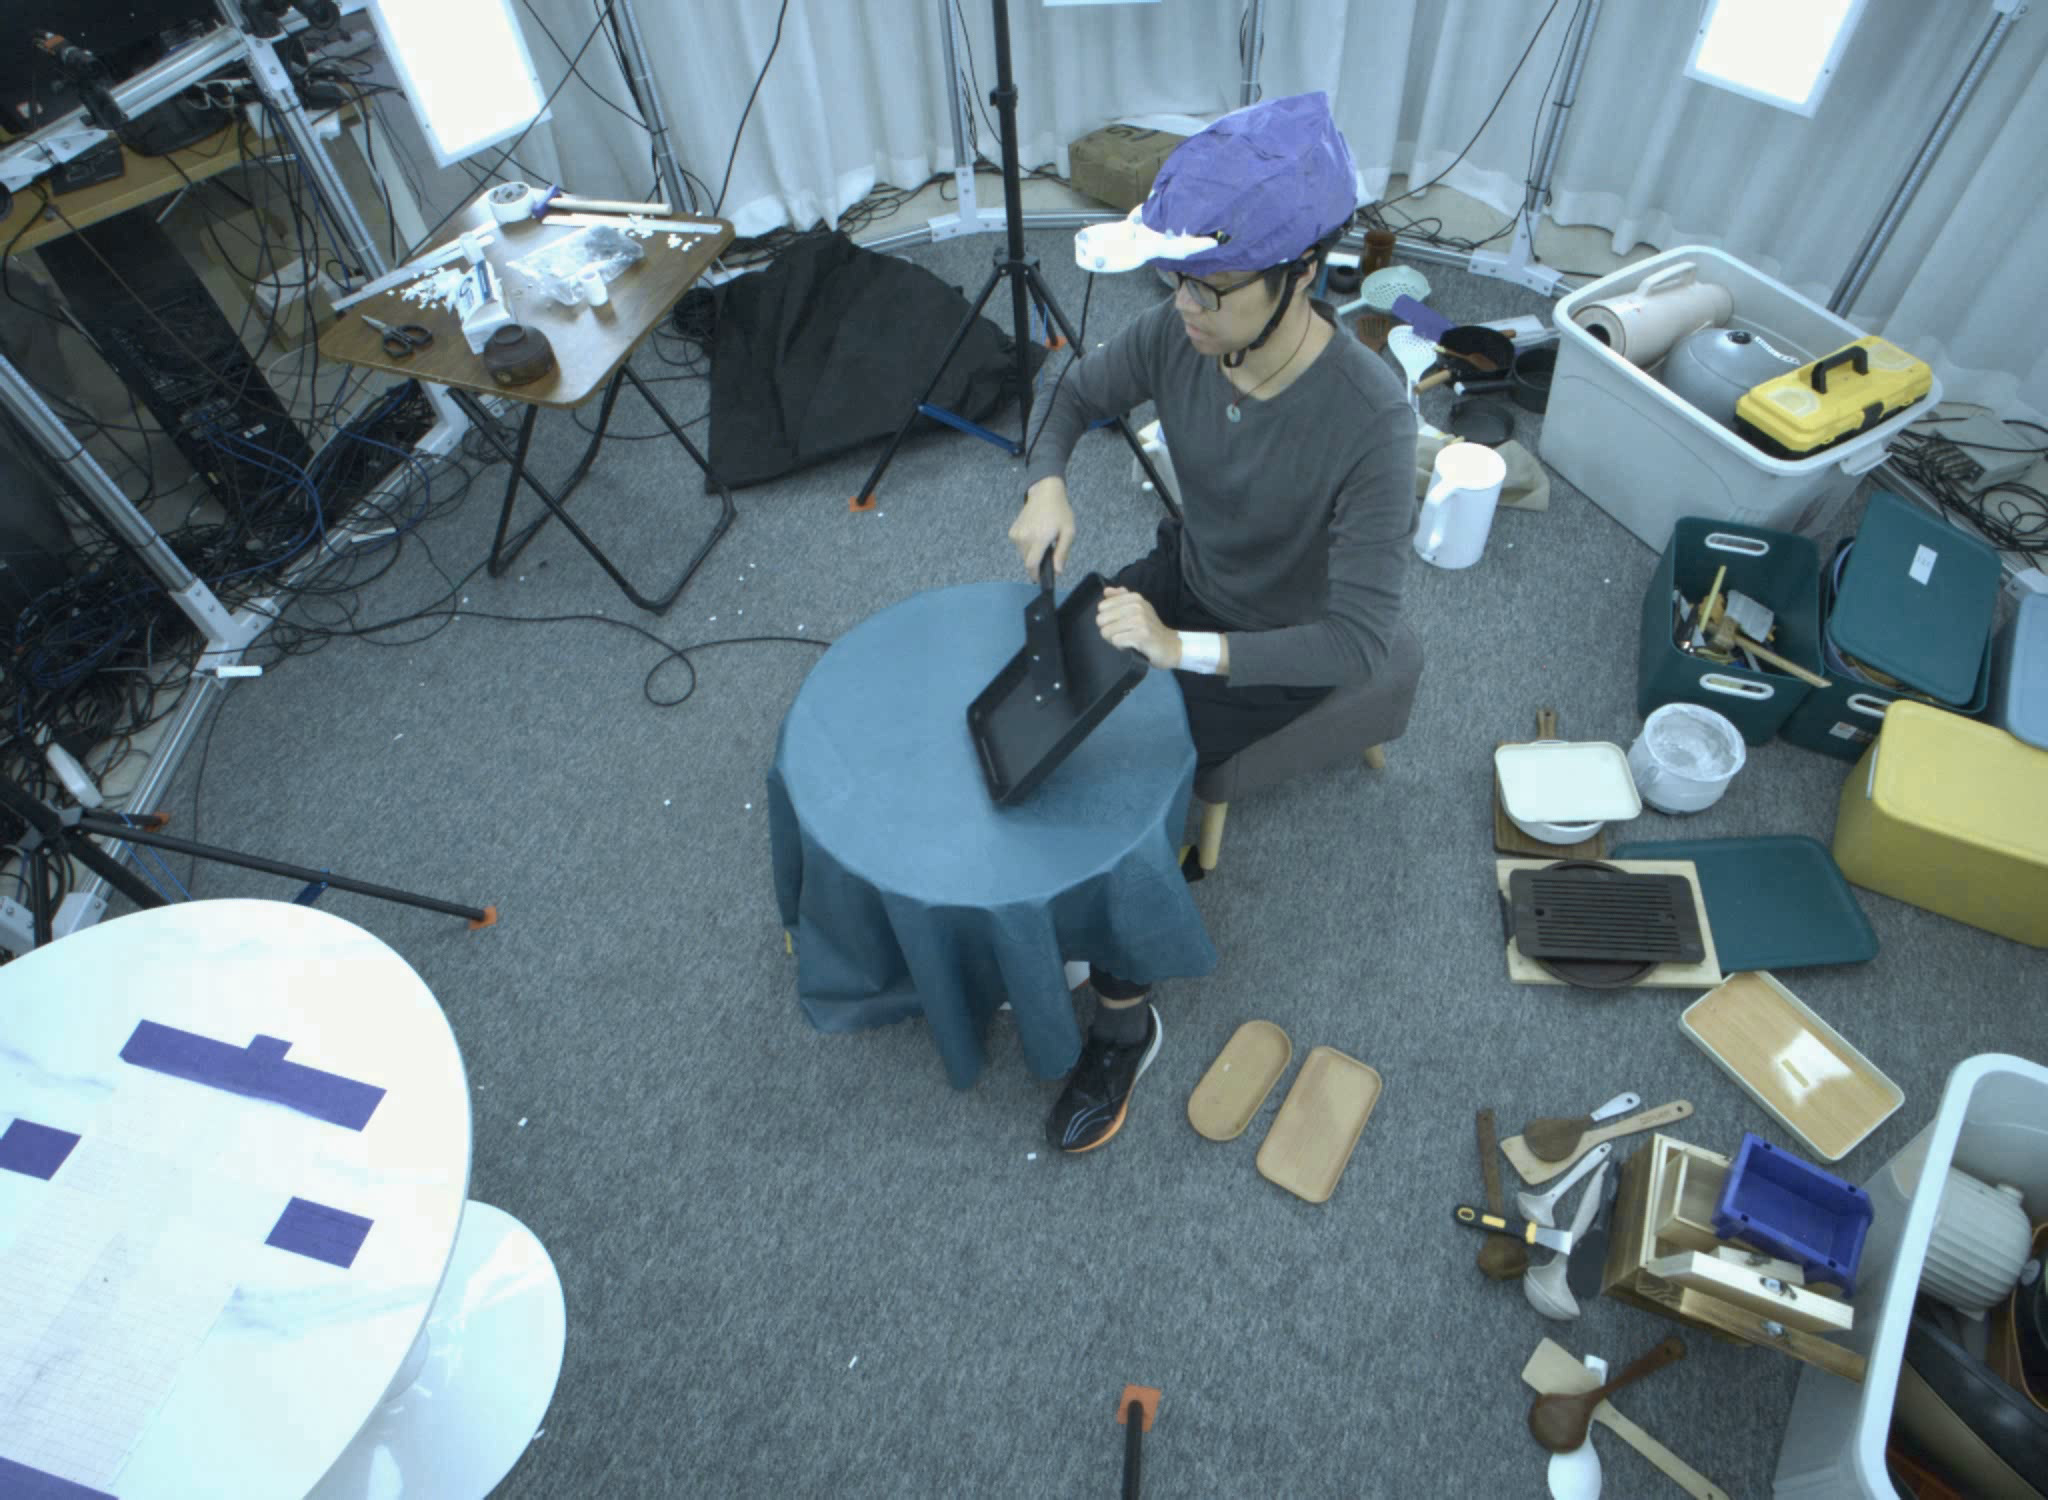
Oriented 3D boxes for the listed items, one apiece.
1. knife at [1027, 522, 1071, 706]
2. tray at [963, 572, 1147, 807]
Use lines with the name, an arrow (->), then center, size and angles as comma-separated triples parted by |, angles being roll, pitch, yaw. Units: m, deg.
knife -> 0.029, -0.198, 1.715 | 0.021, 0.080, 0.299 | 19, 55, -37
tray -> 0.035, -0.079, 1.695 | 0.038, 0.316, 0.181 | 15, 41, -39
